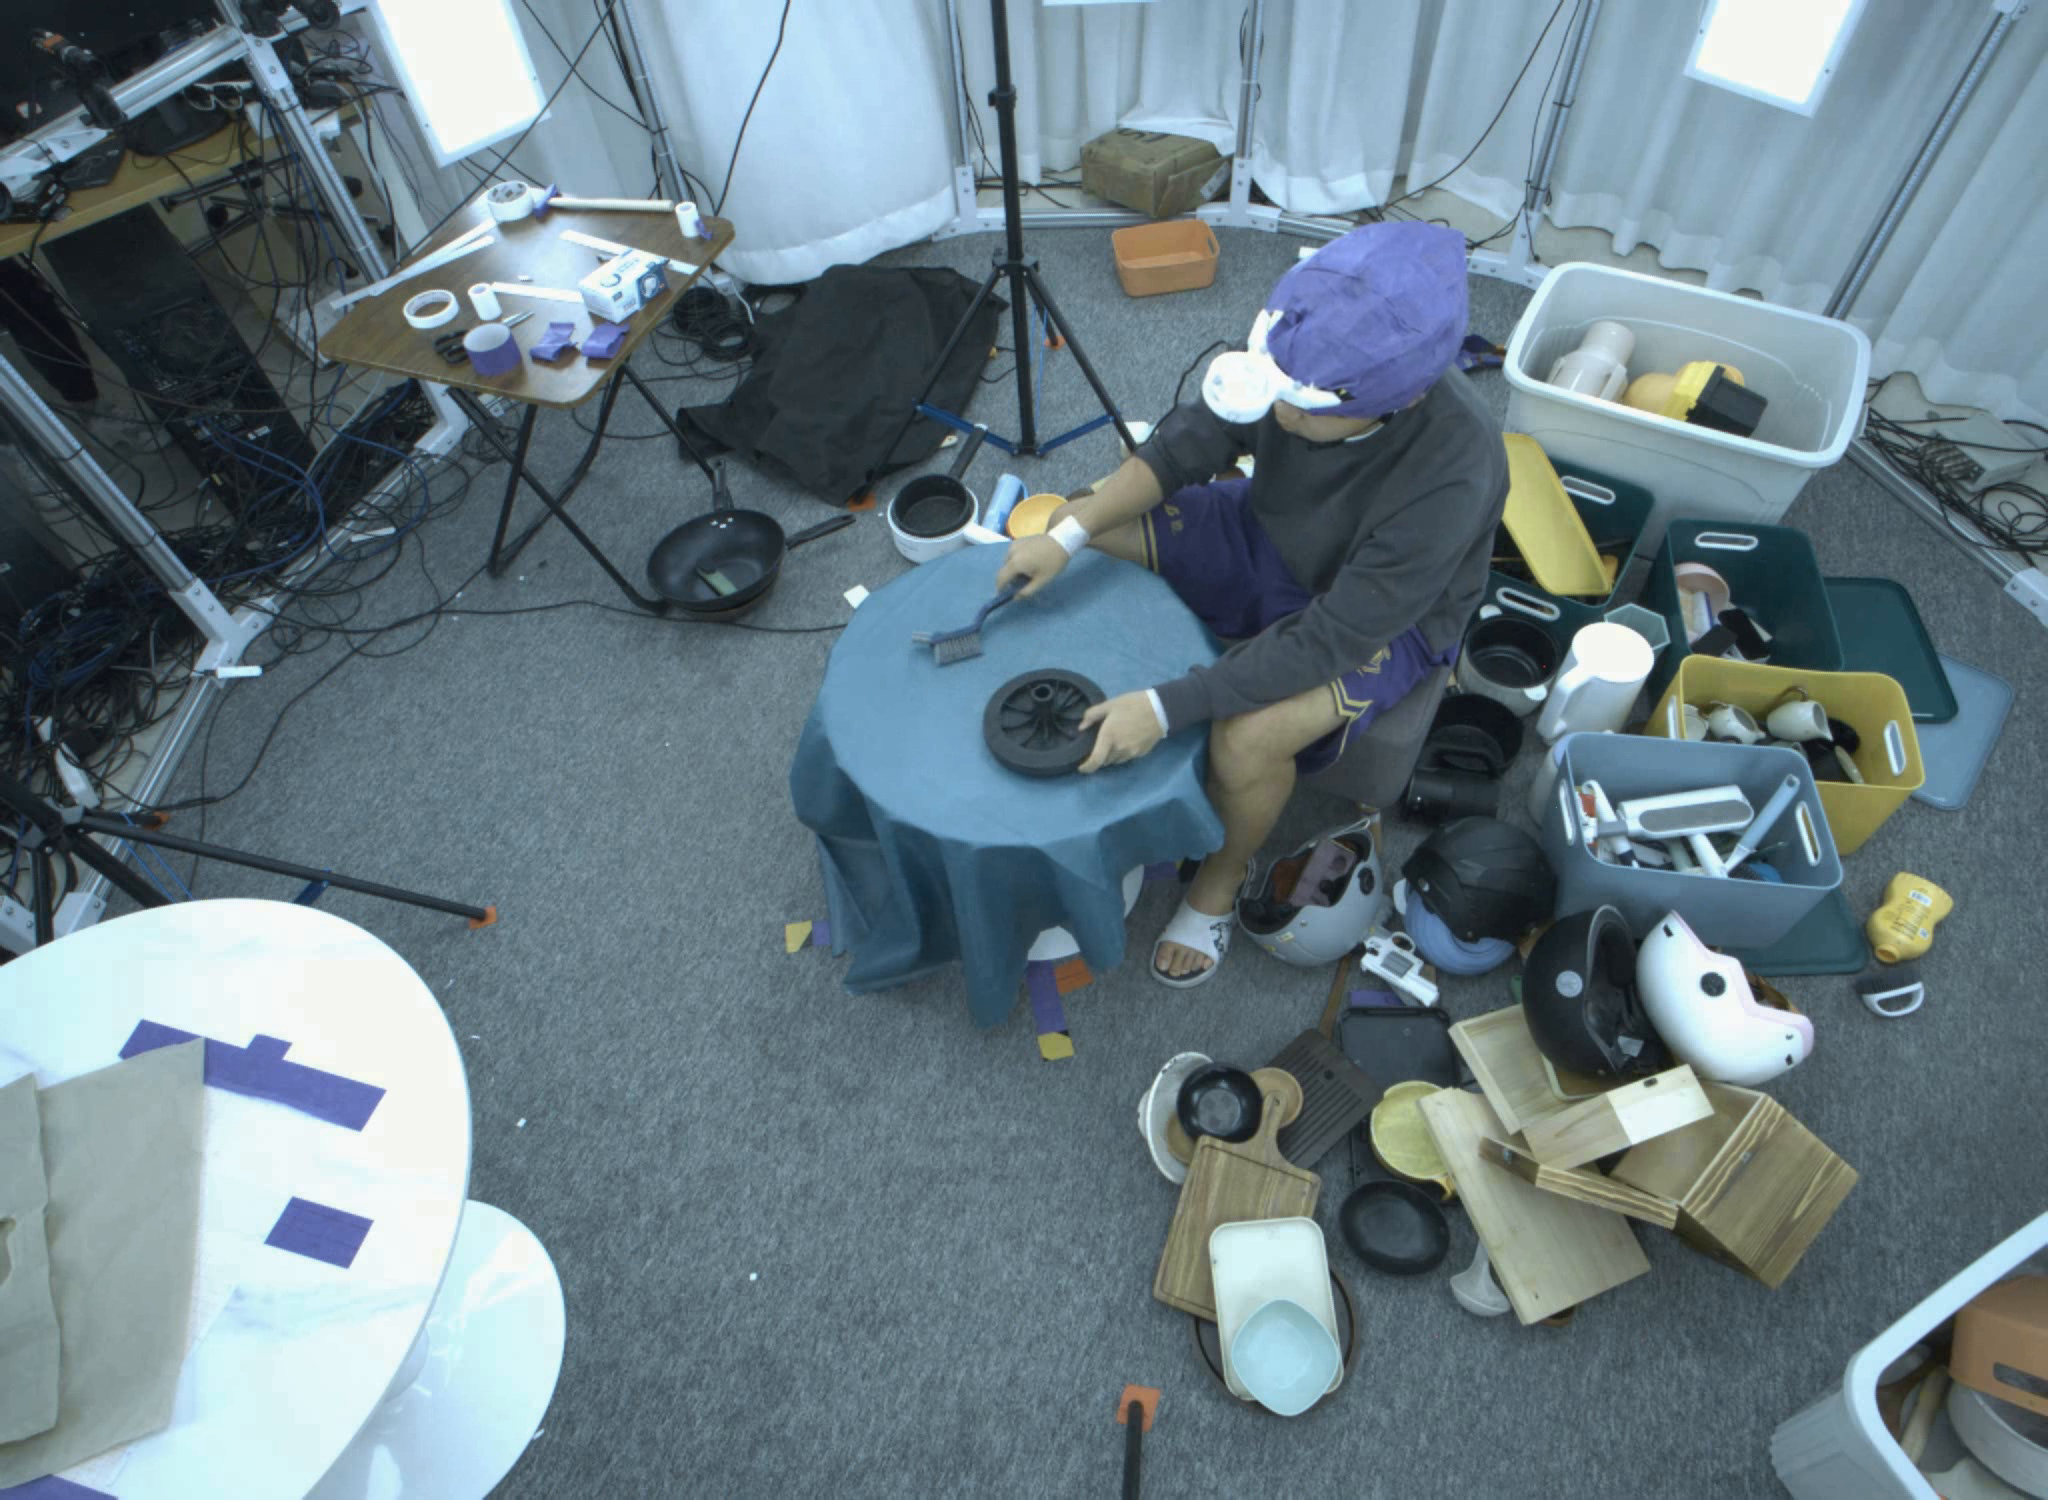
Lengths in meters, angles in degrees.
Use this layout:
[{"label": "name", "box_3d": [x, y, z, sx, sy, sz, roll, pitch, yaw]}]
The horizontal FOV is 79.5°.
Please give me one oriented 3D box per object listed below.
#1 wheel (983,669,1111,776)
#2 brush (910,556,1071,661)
[{"label": "wheel", "box_3d": [0.031, -0.056, 1.781, 0.186, 0.080, 0.189, 6, 53, 11]}, {"label": "brush", "box_3d": [-0.047, -0.234, 1.918, 0.274, 0.033, 0.095, -41, 79, -14]}]
